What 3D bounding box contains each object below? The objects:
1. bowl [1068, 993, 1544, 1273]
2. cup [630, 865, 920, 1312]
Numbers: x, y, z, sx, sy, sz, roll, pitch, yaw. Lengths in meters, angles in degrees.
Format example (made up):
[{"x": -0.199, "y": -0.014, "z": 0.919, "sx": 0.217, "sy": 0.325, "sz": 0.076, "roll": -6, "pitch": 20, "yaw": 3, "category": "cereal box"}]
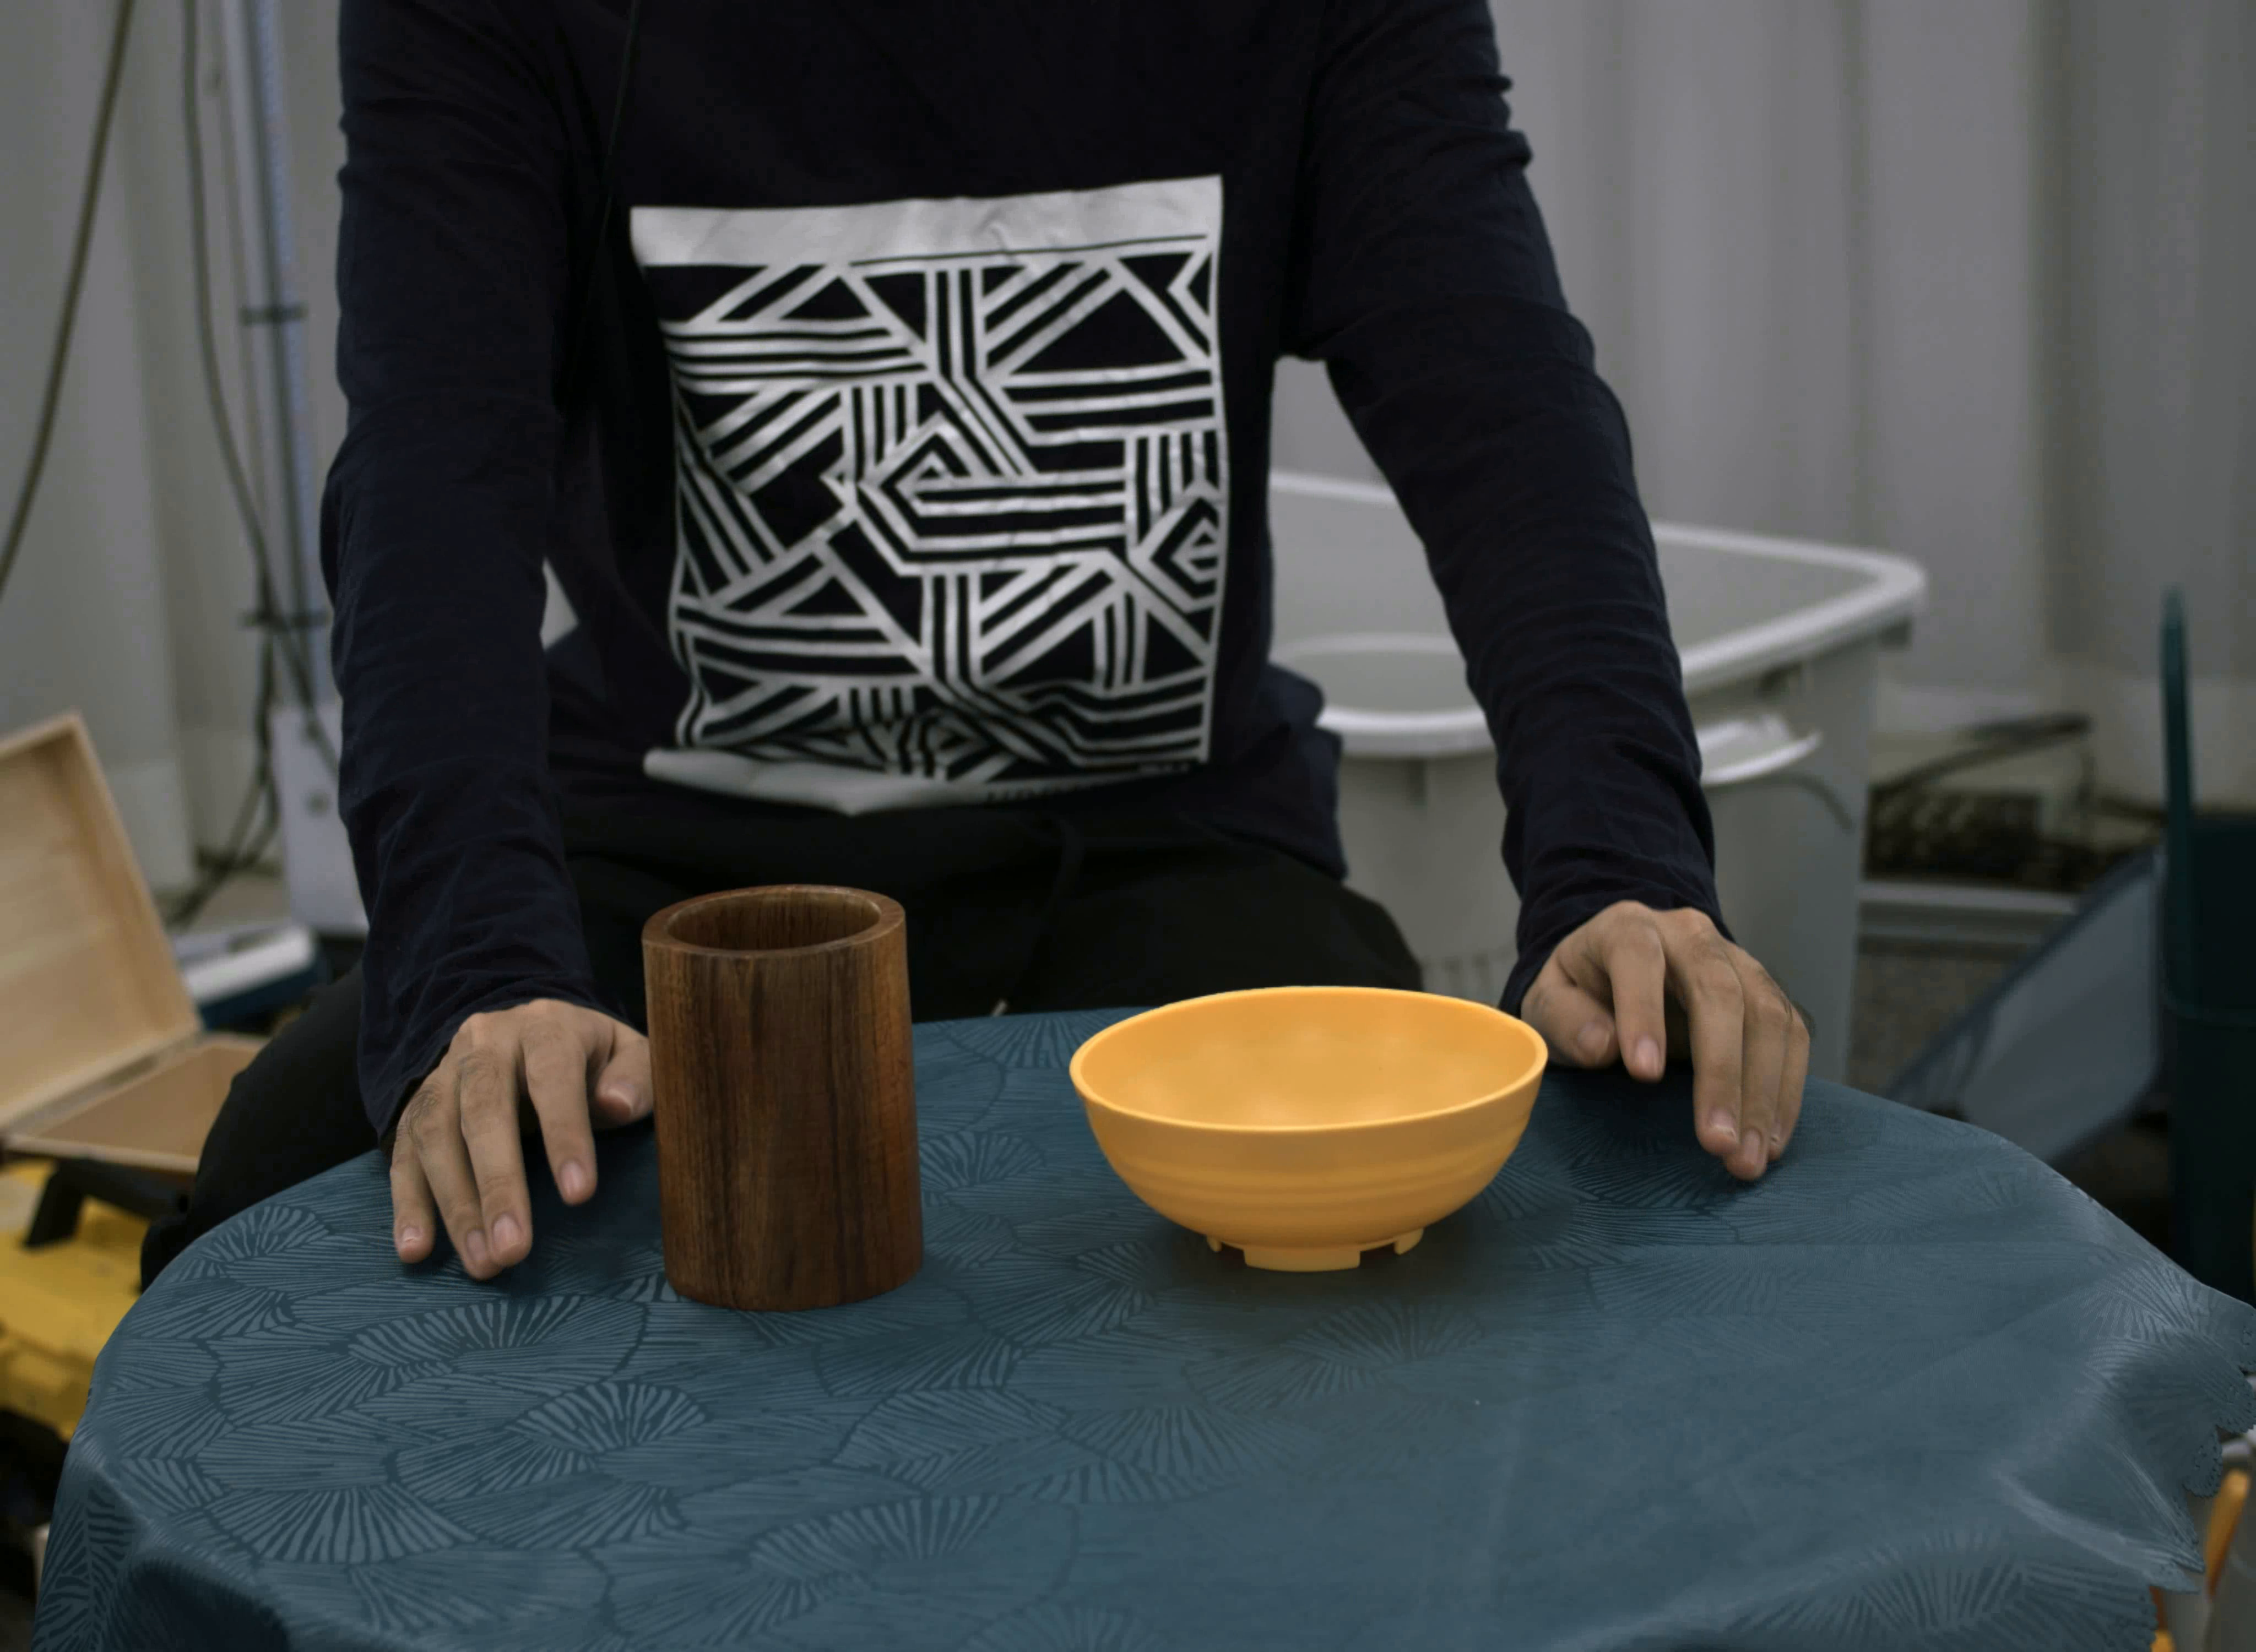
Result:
[{"x": 0.054, "y": 0.097, "z": 1.658, "sx": 0.145, "sy": 0.060, "sz": 0.146, "roll": -2, "pitch": 13, "yaw": 0, "category": "bowl"}, {"x": -0.106, "y": 0.078, "z": 1.647, "sx": 0.087, "sy": 0.118, "sz": 0.088, "roll": -1, "pitch": 13, "yaw": 0, "category": "cup"}]
